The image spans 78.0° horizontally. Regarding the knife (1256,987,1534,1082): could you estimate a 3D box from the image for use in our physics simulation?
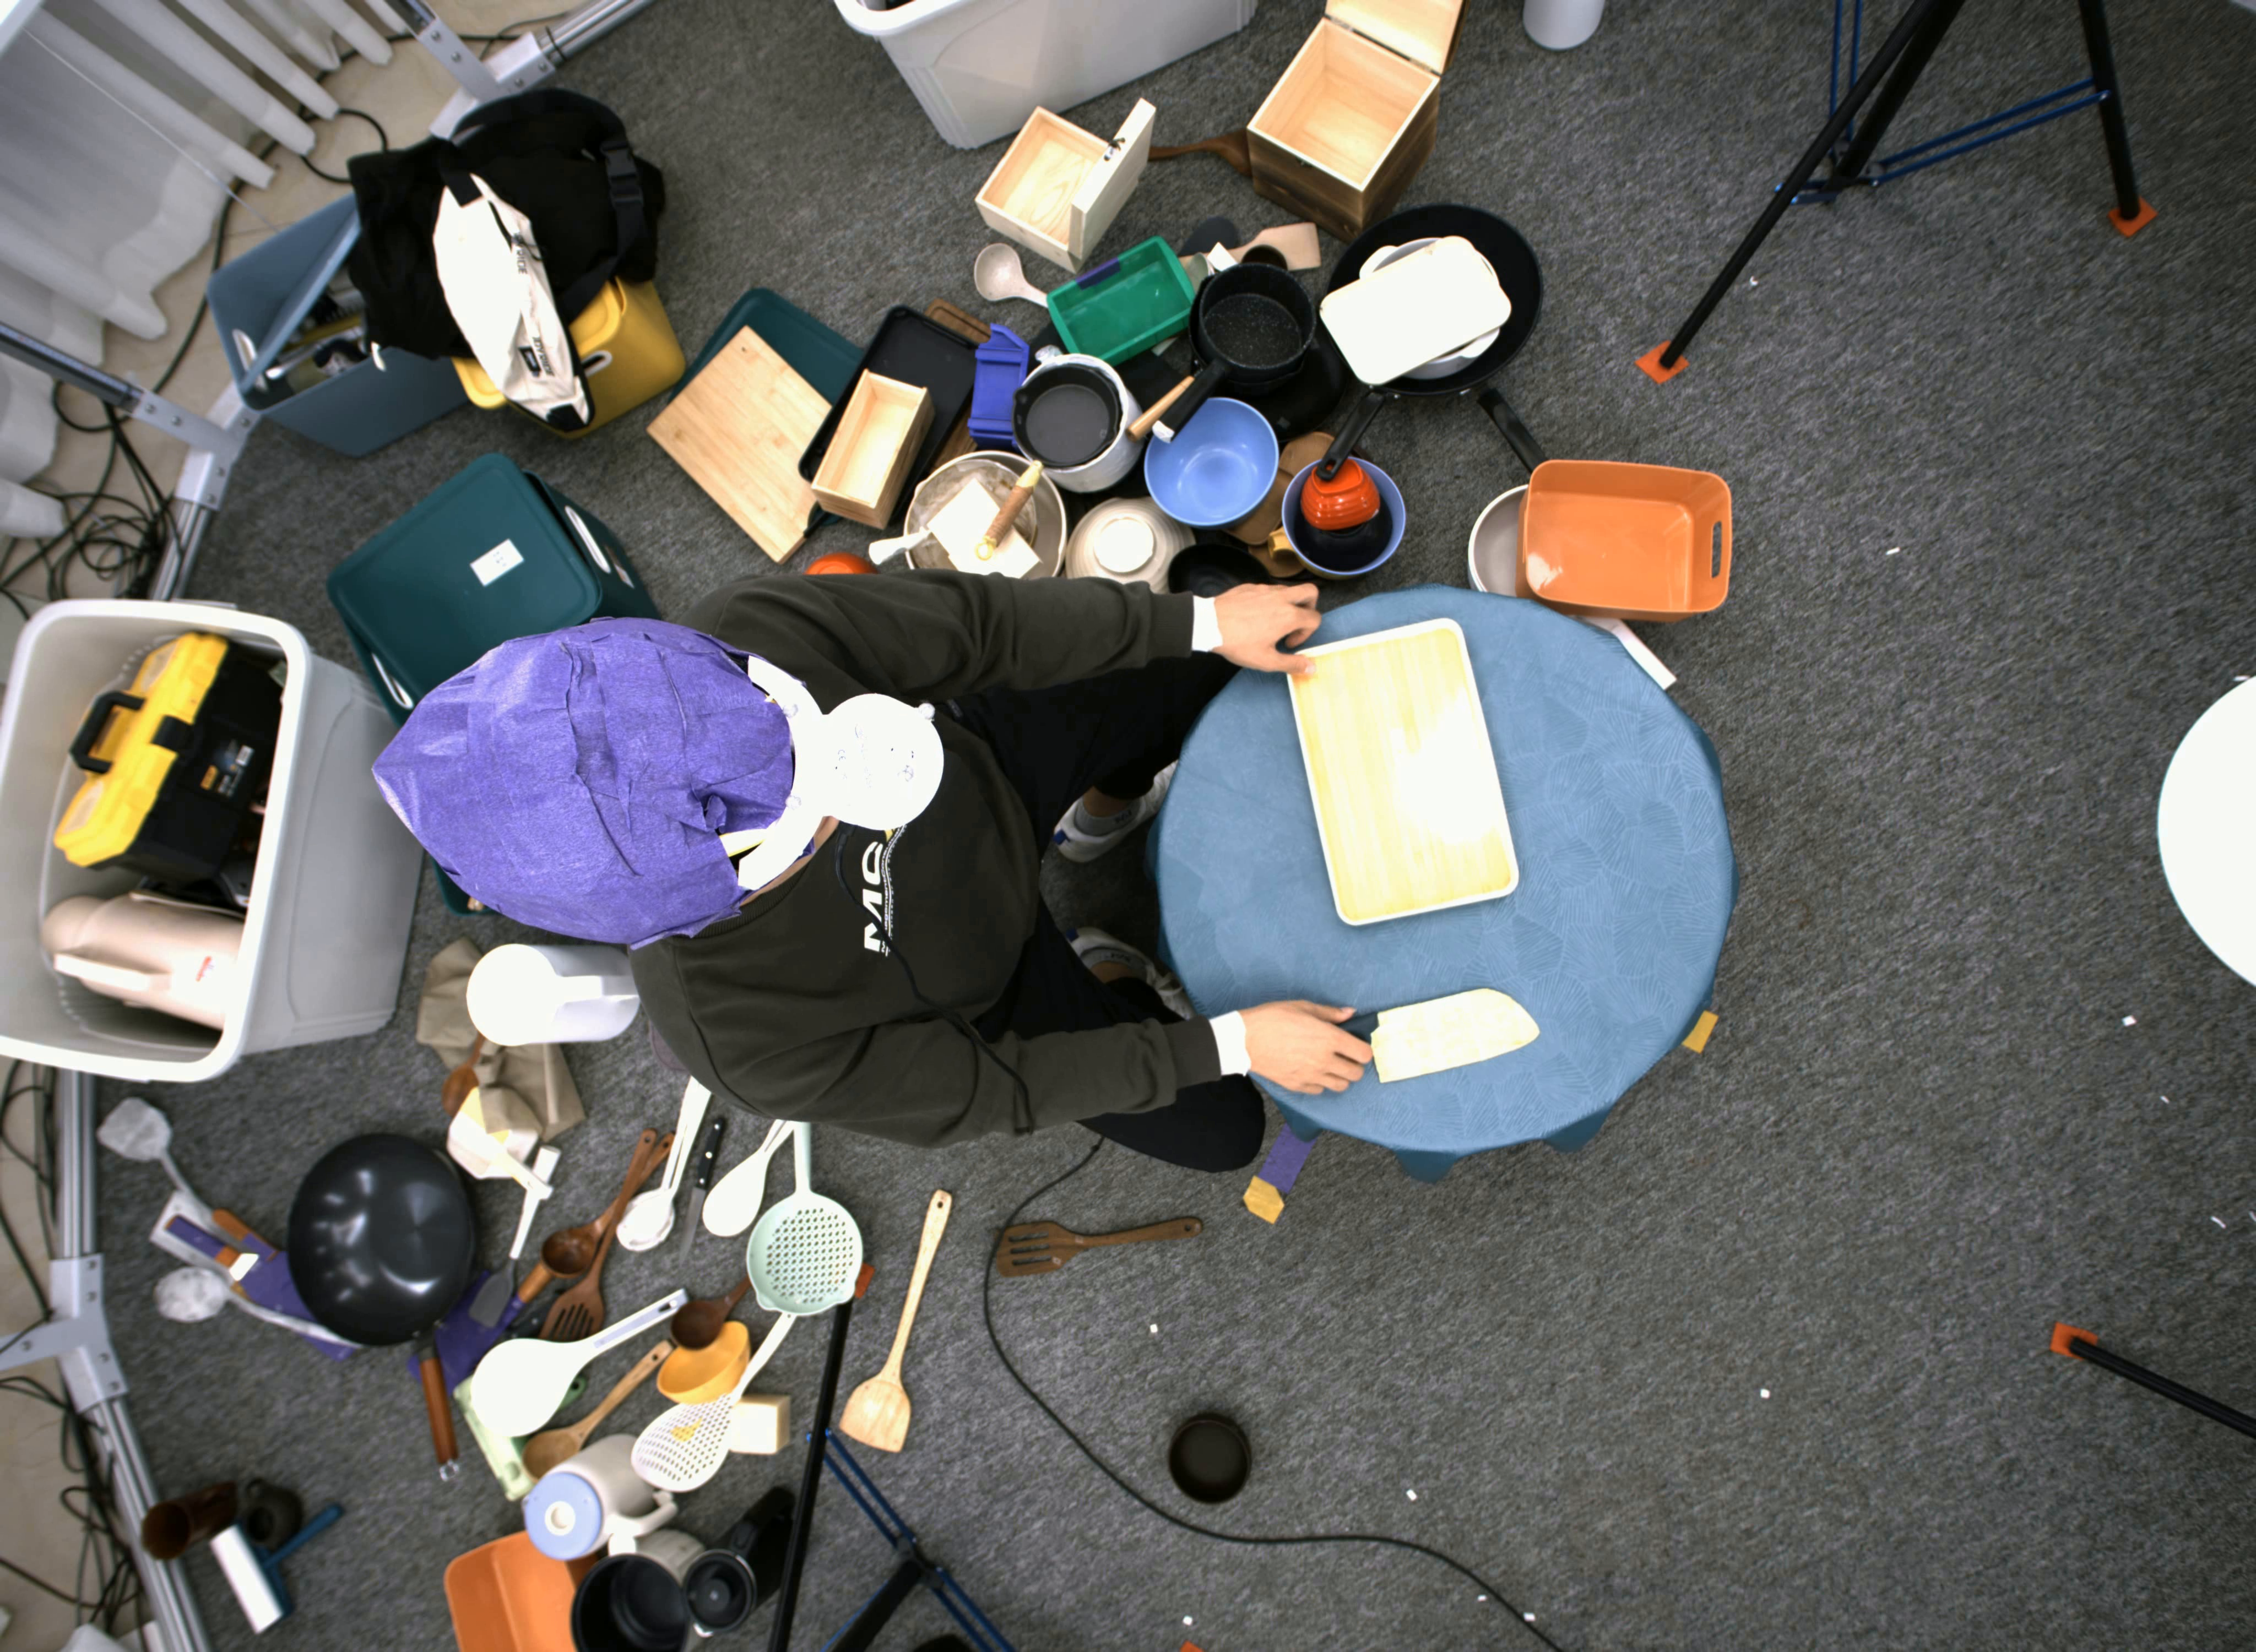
[{"bbox_3d":[0.279,0.223,1.443,0.291,0.027,0.080,-11,86,9],"label":"knife"}]

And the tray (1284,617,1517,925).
[{"bbox_3d":[0.285,-0.059,1.451,0.193,0.027,0.298,-12,84,11],"label":"tray"}]
